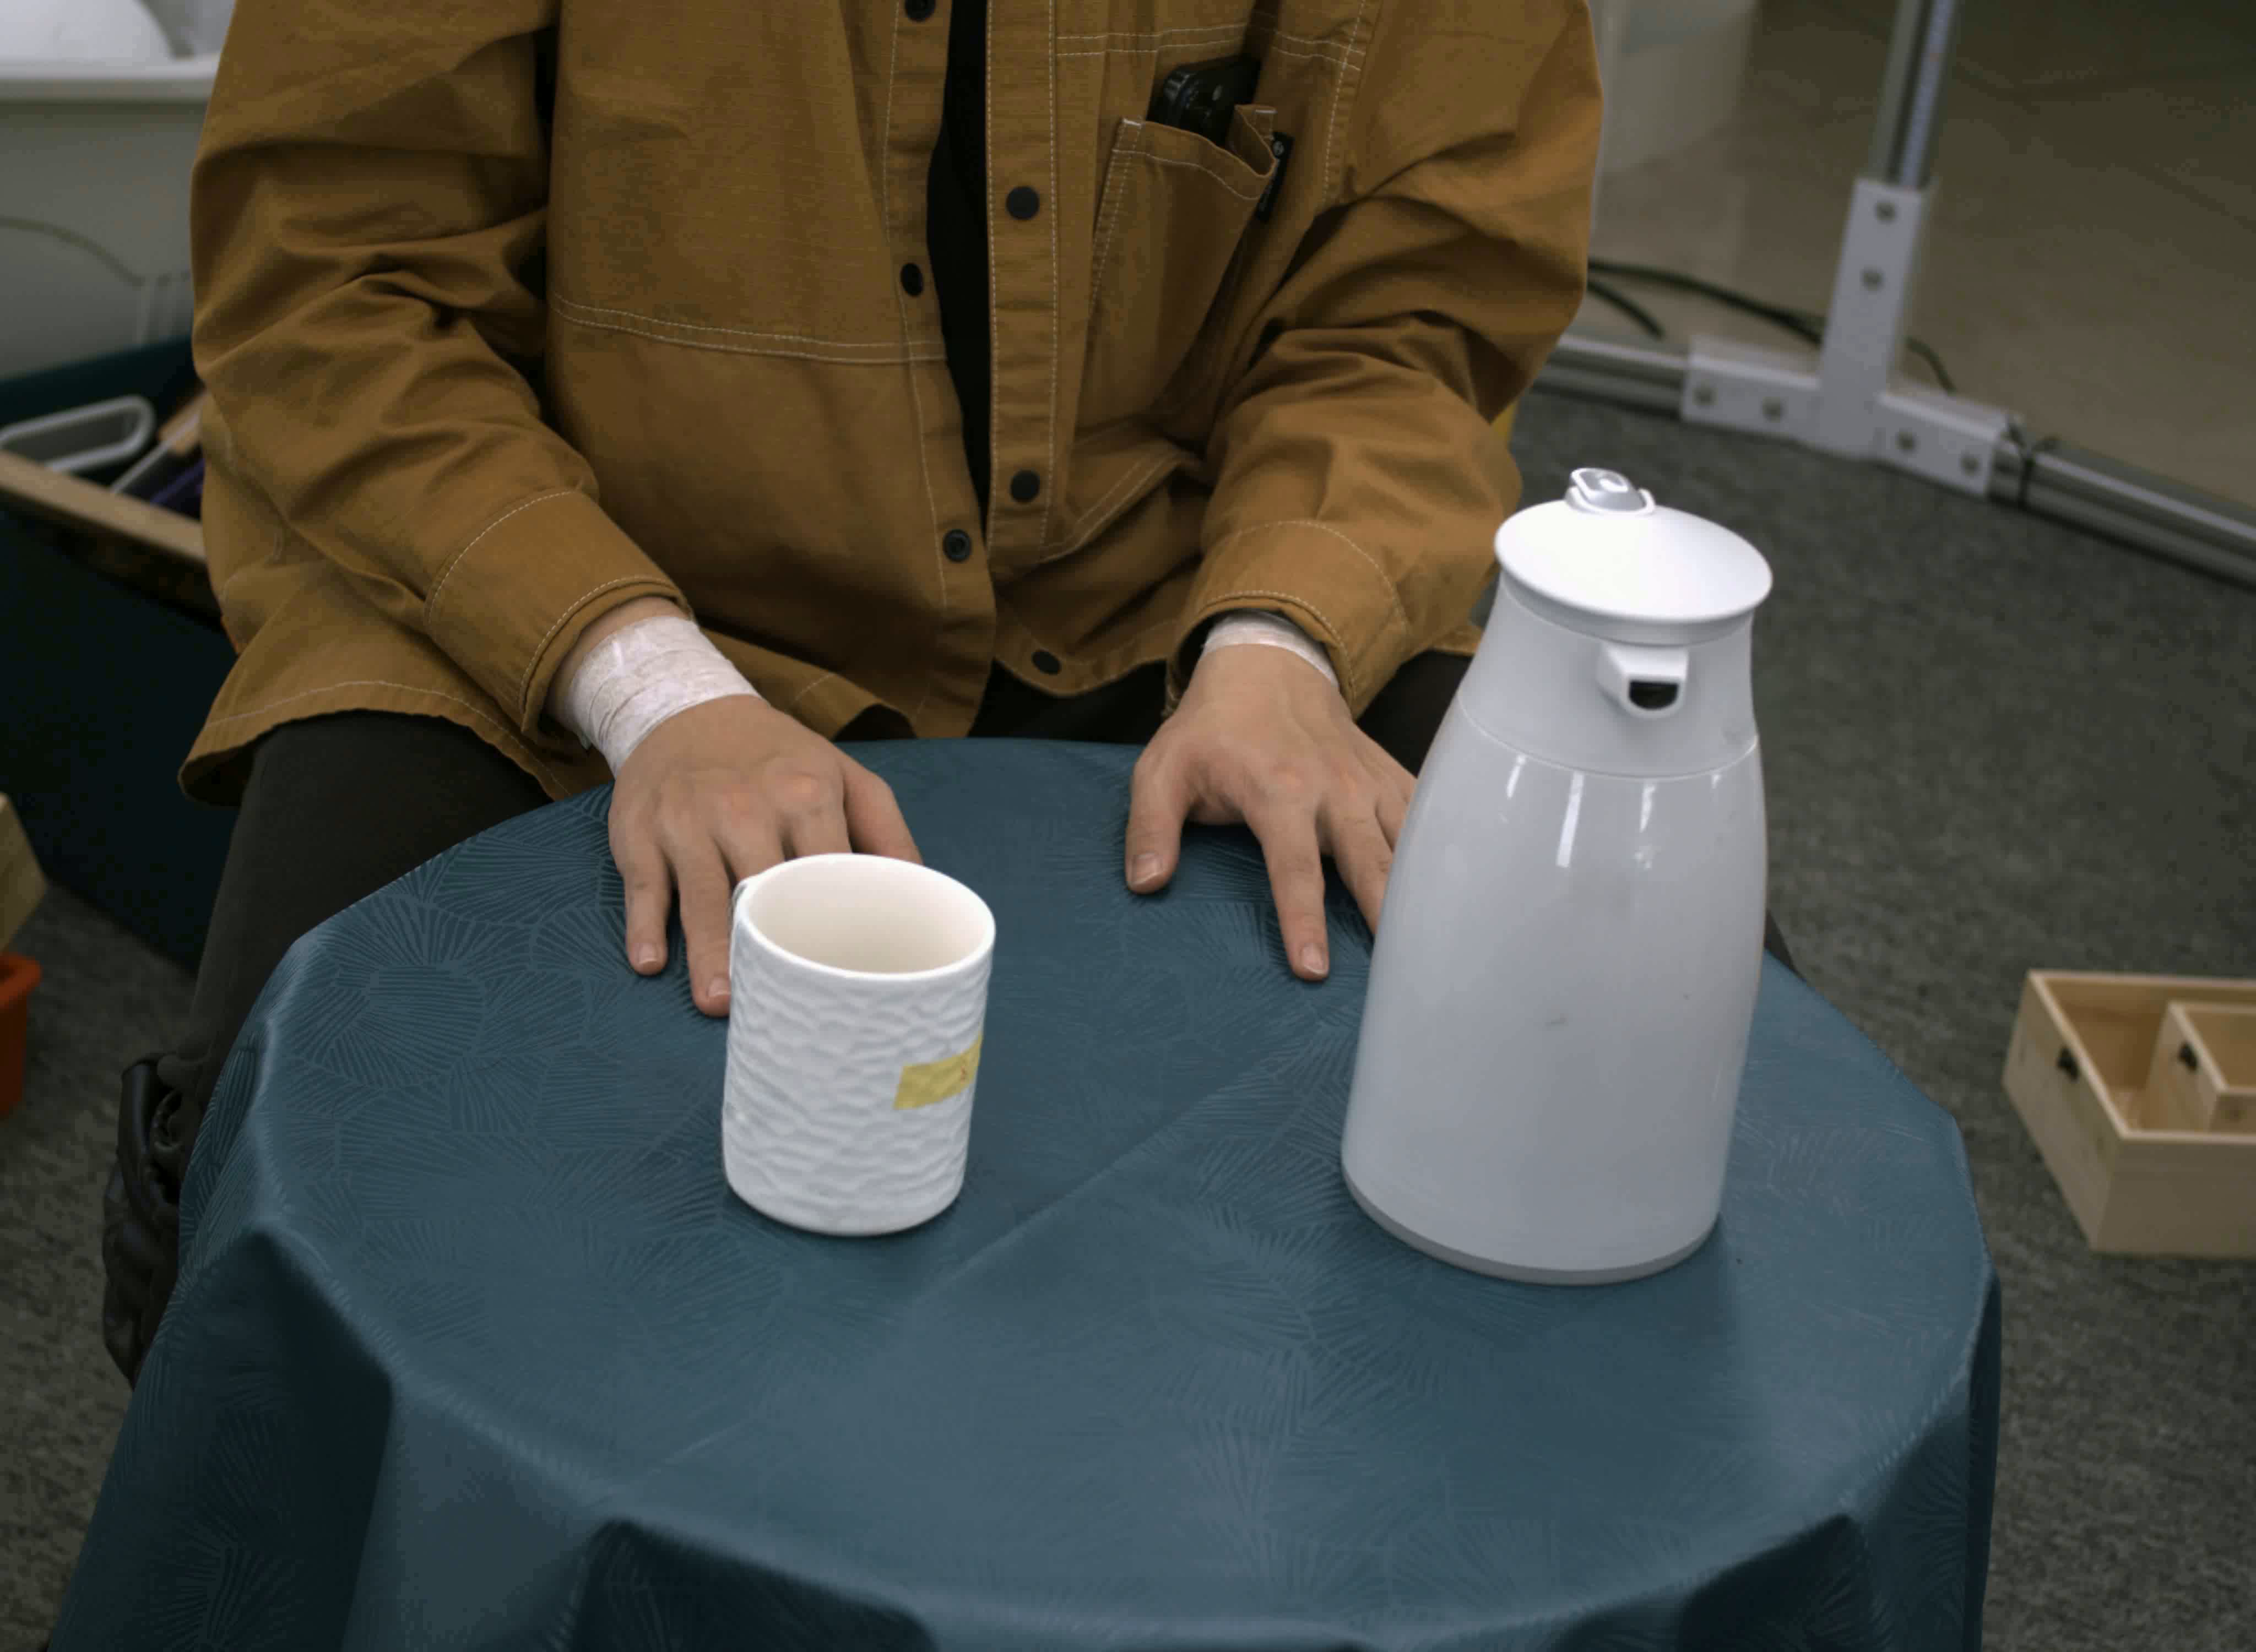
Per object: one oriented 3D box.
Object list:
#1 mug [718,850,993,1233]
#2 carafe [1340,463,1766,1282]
[{"bbox_3d":[-0.101,0.066,1.782,0.084,0.101,0.119,-12,32,-32],"label":"mug"},{"bbox_3d":[0.147,0.005,1.798,0.132,0.248,0.169,2,26,-7],"label":"carafe"}]
